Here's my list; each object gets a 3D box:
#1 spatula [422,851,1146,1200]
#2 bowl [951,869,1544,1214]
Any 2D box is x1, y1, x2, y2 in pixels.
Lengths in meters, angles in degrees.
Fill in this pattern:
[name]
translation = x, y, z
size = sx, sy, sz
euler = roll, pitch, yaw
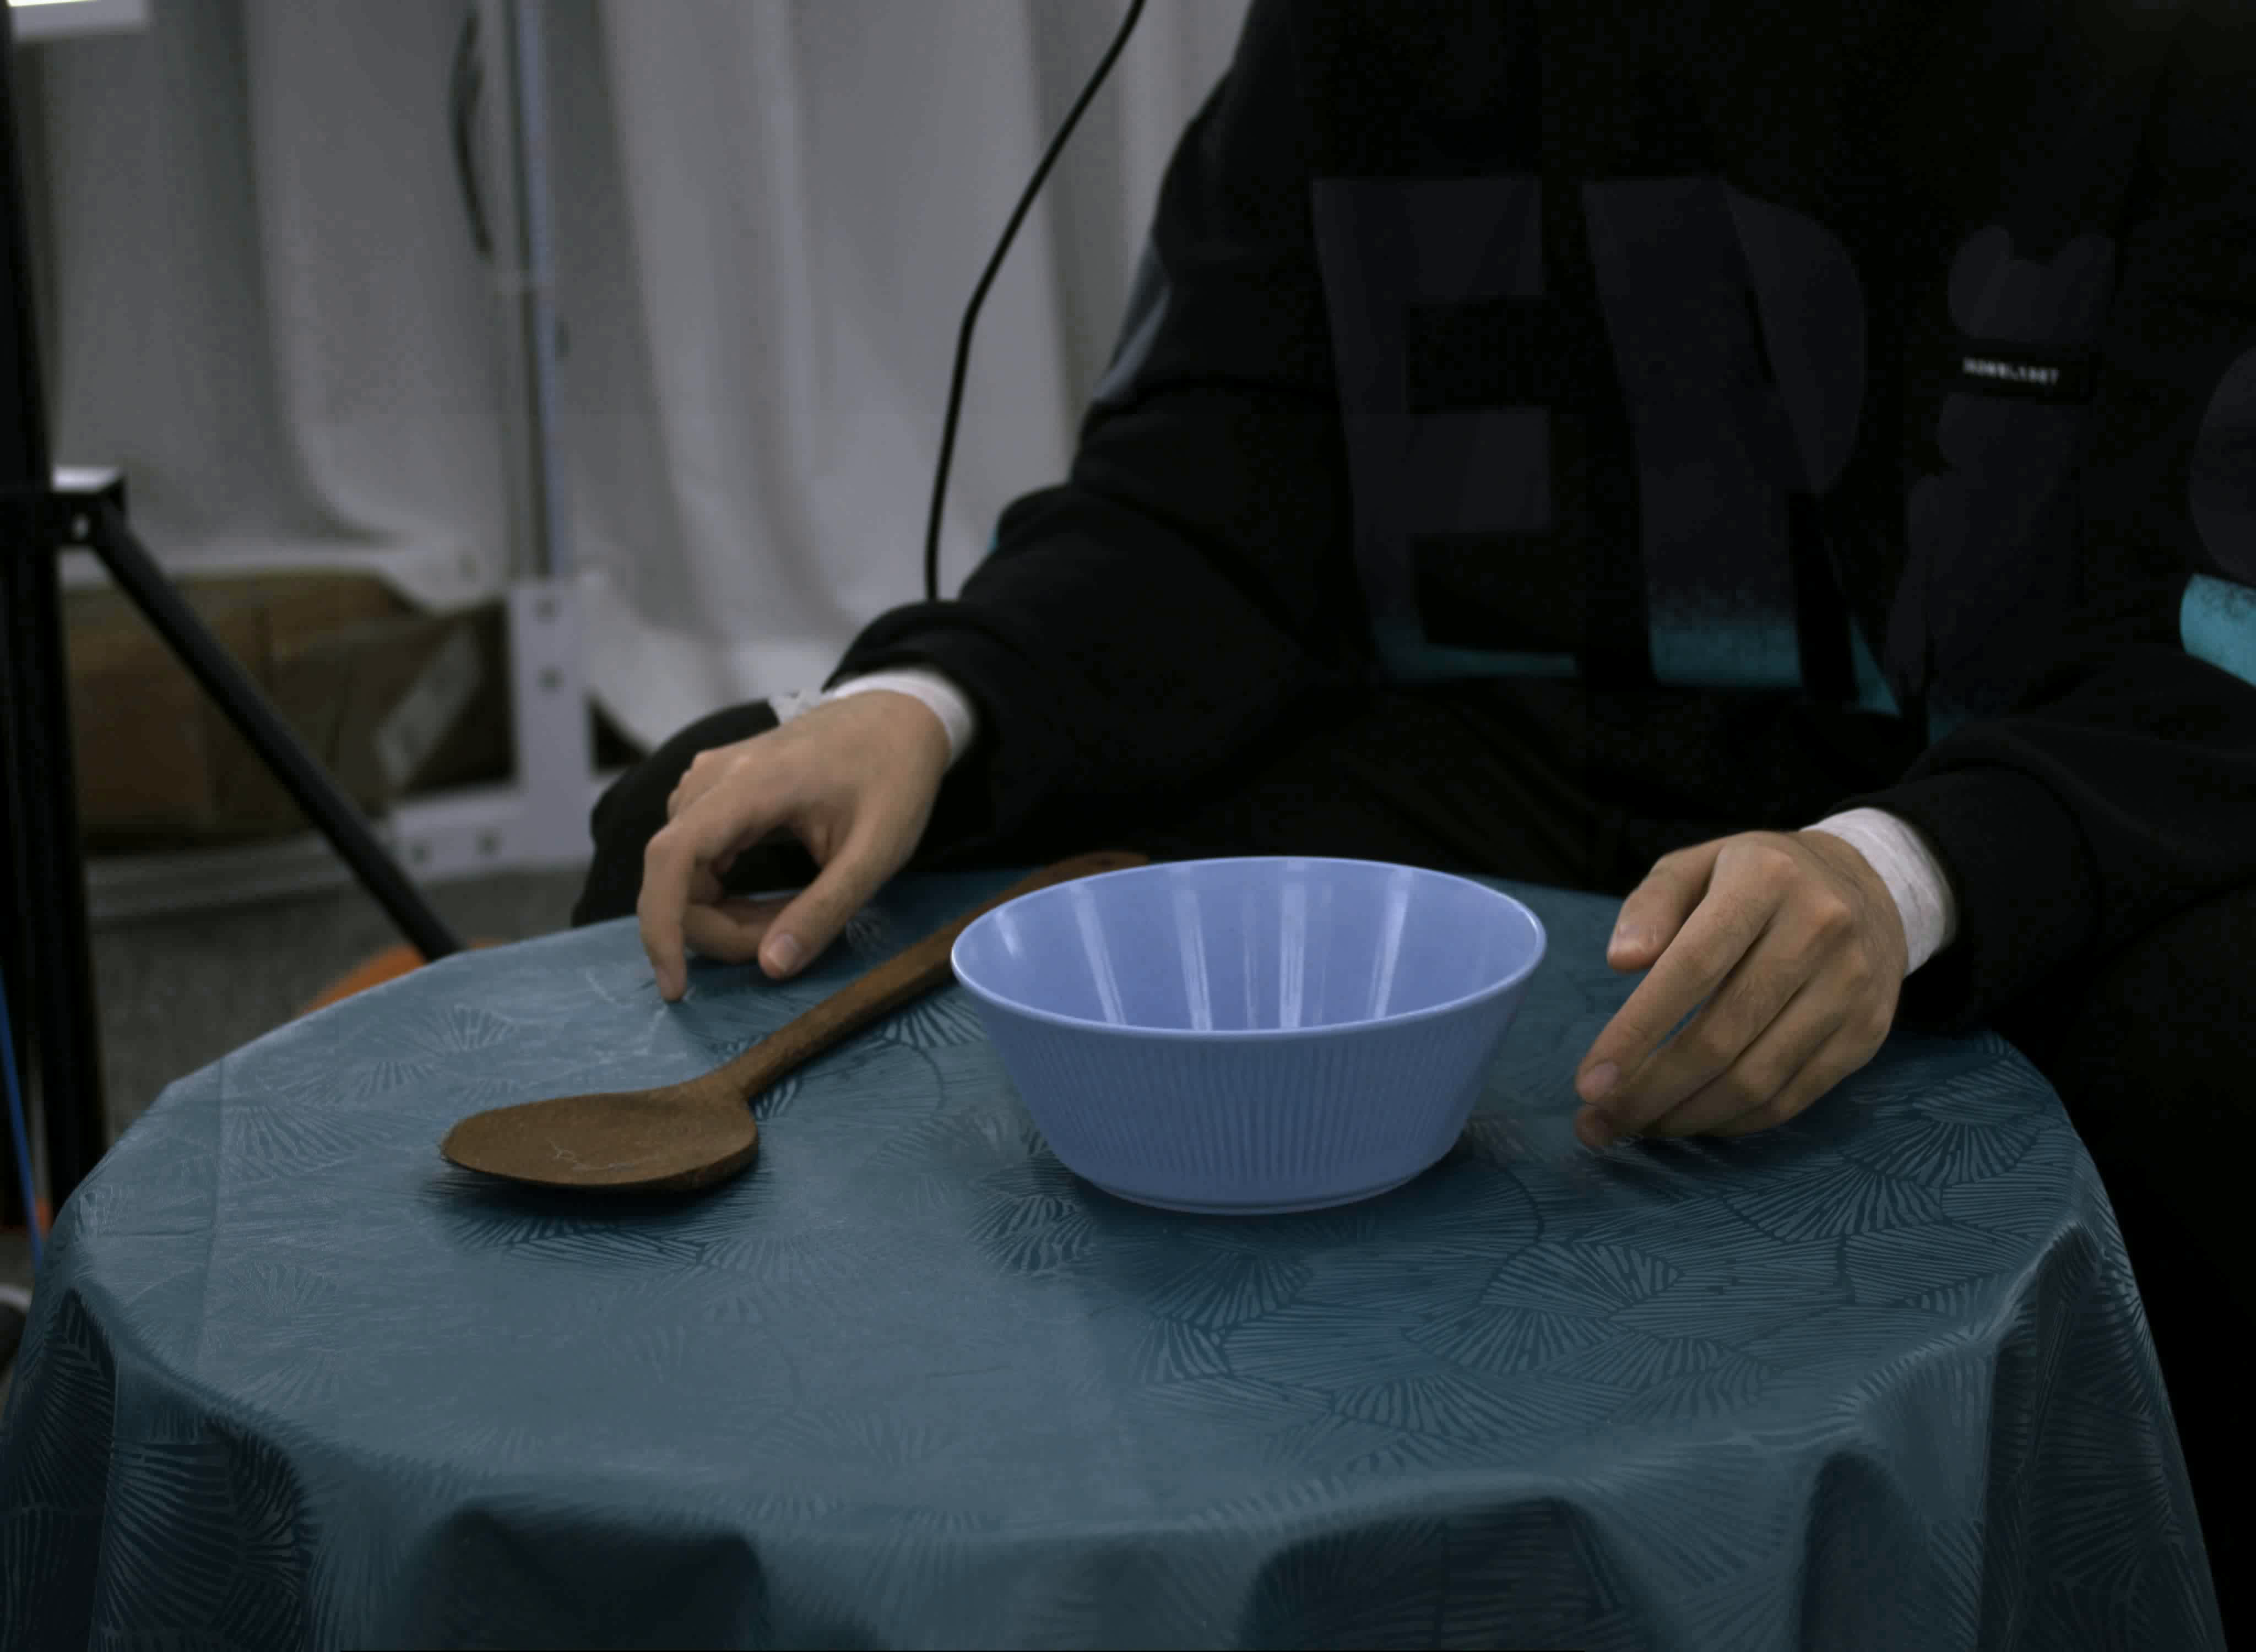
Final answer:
[spatula]
translation = -0.089, 0.059, 1.722
size = 0.098, 0.016, 0.379
euler = 6, 18, 28
[bowl]
translation = 0.036, 0.066, 1.575
size = 0.175, 0.070, 0.177
euler = -2, 15, -1
